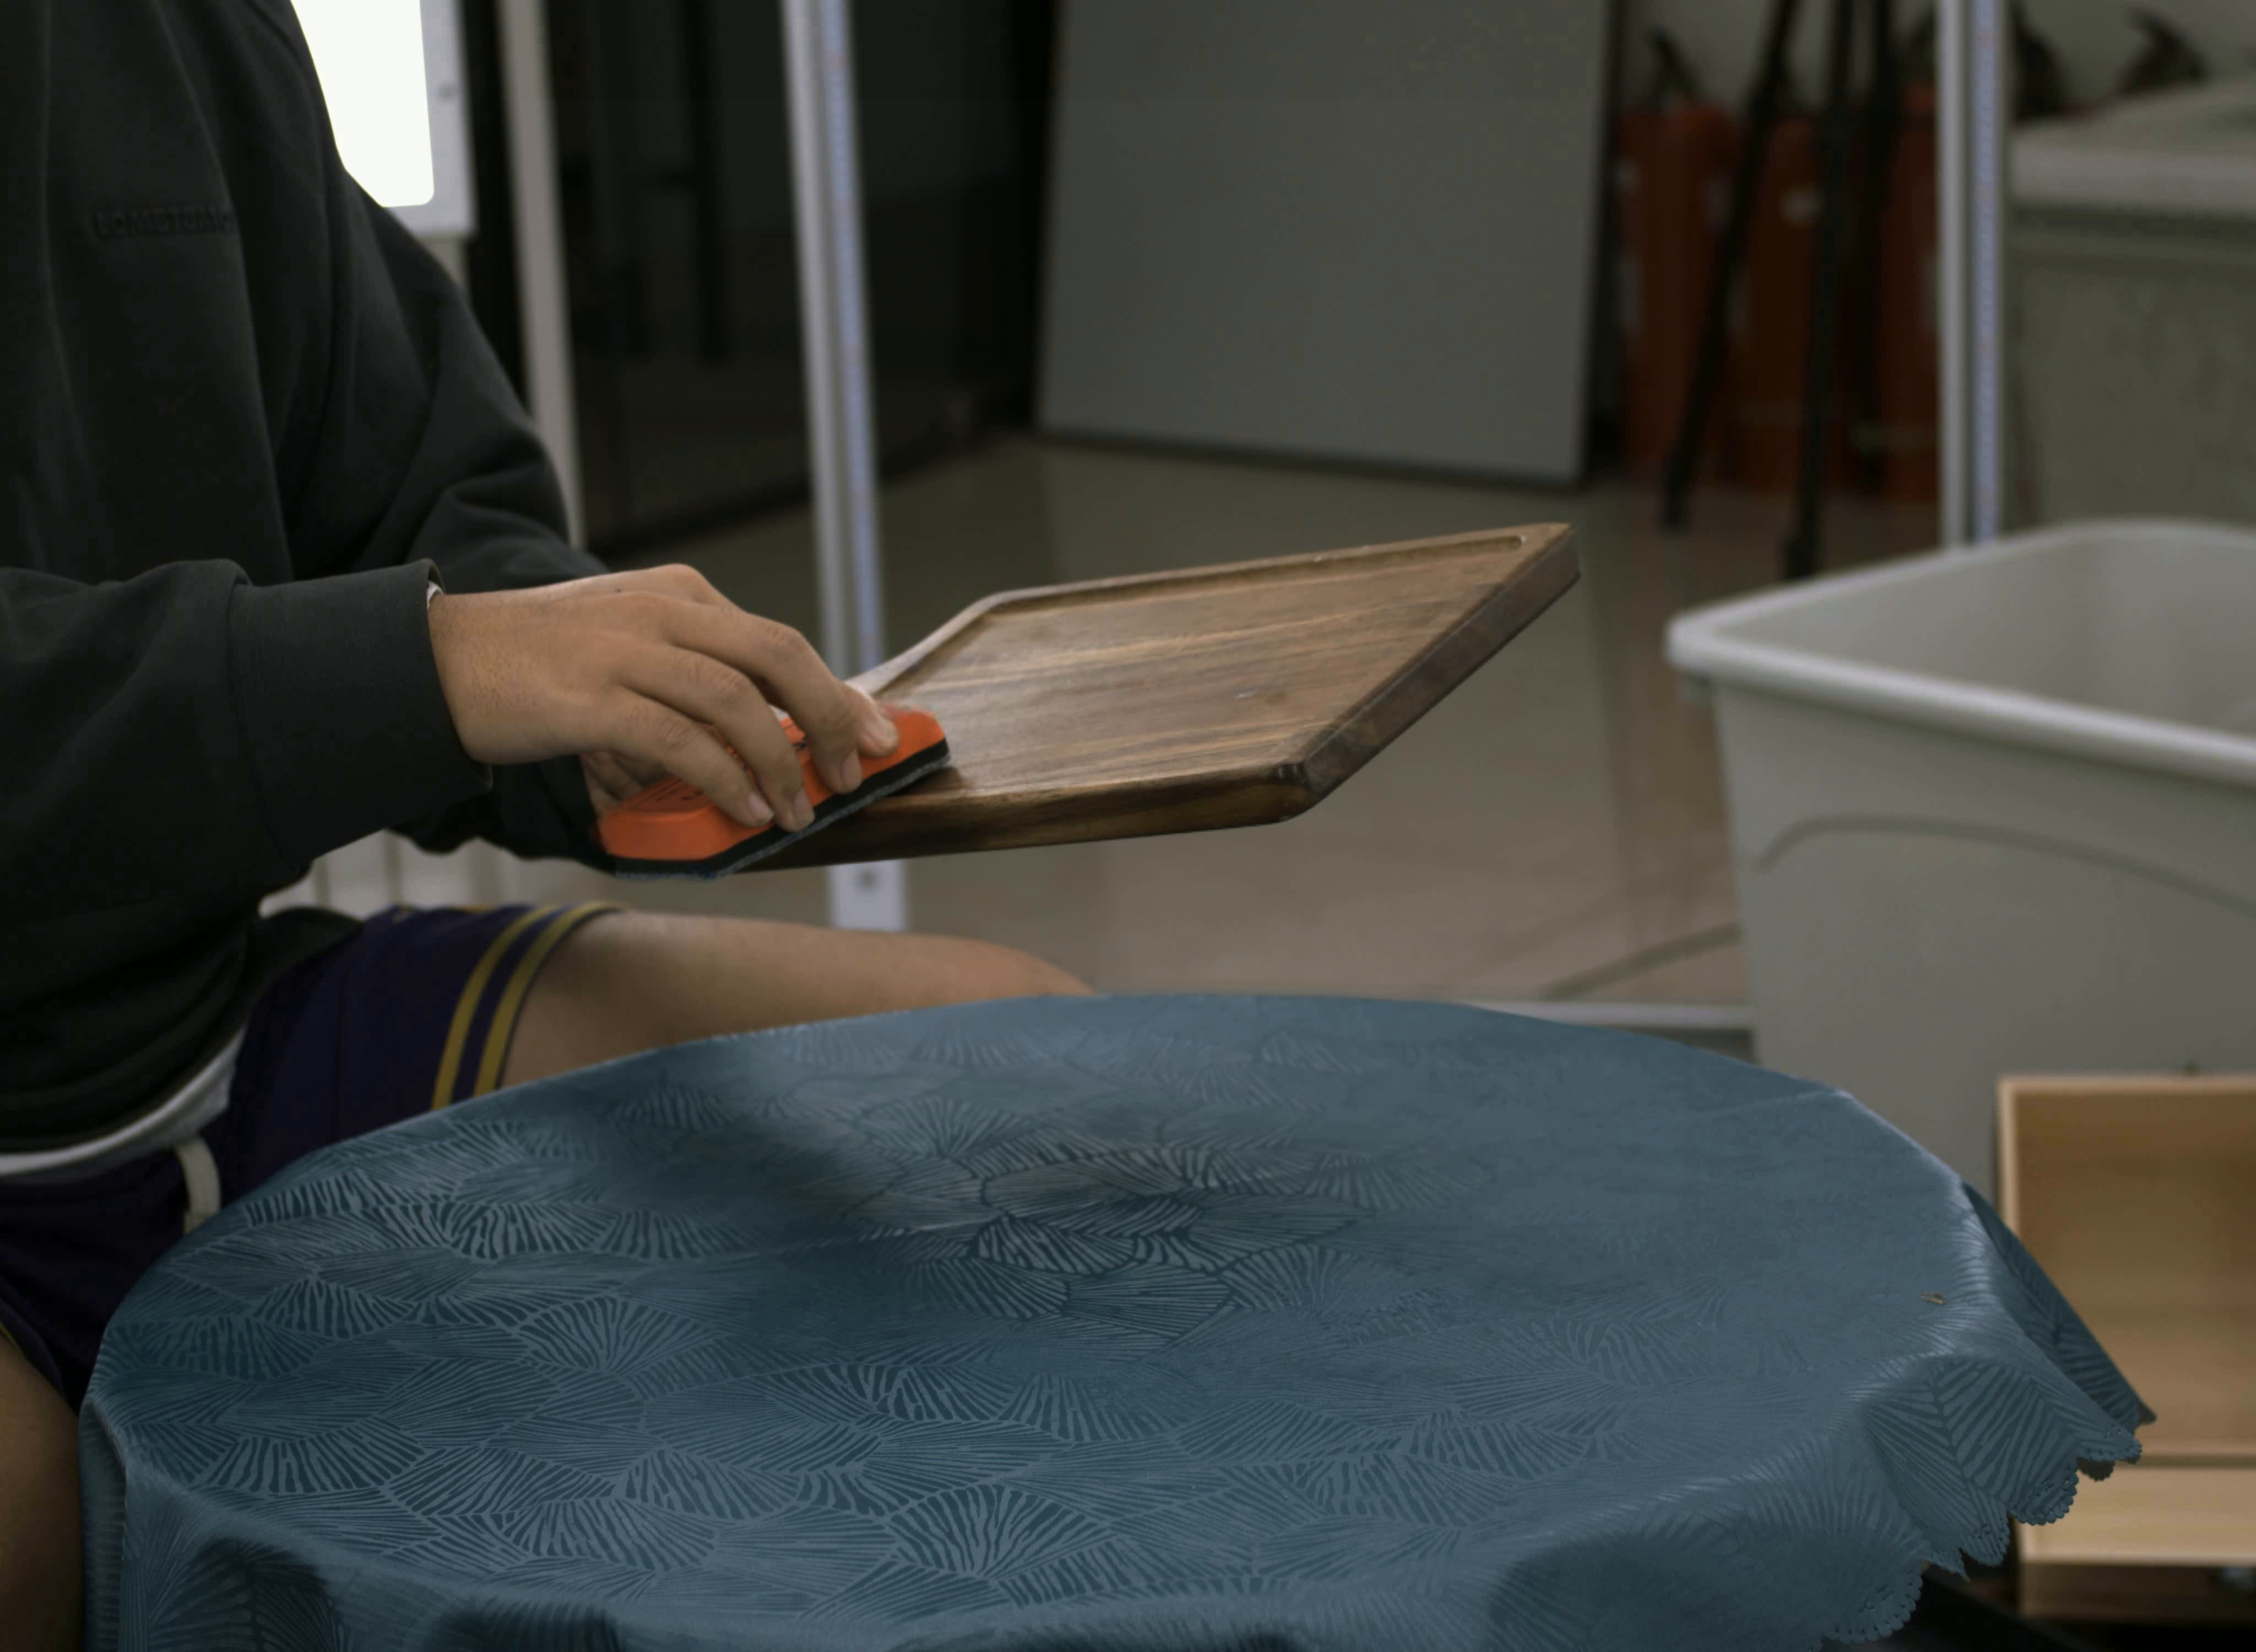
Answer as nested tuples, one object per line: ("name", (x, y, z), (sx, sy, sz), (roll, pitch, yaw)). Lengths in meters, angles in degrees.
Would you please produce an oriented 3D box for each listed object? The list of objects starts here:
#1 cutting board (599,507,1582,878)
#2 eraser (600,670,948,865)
("cutting board", (-0.038, -0.039, 1.777), (0.354, 0.023, 0.198), (-7, 21, 38))
("eraser", (-0.112, -0.019, 1.715), (0.106, 0.023, 0.059), (-30, 17, -35))
